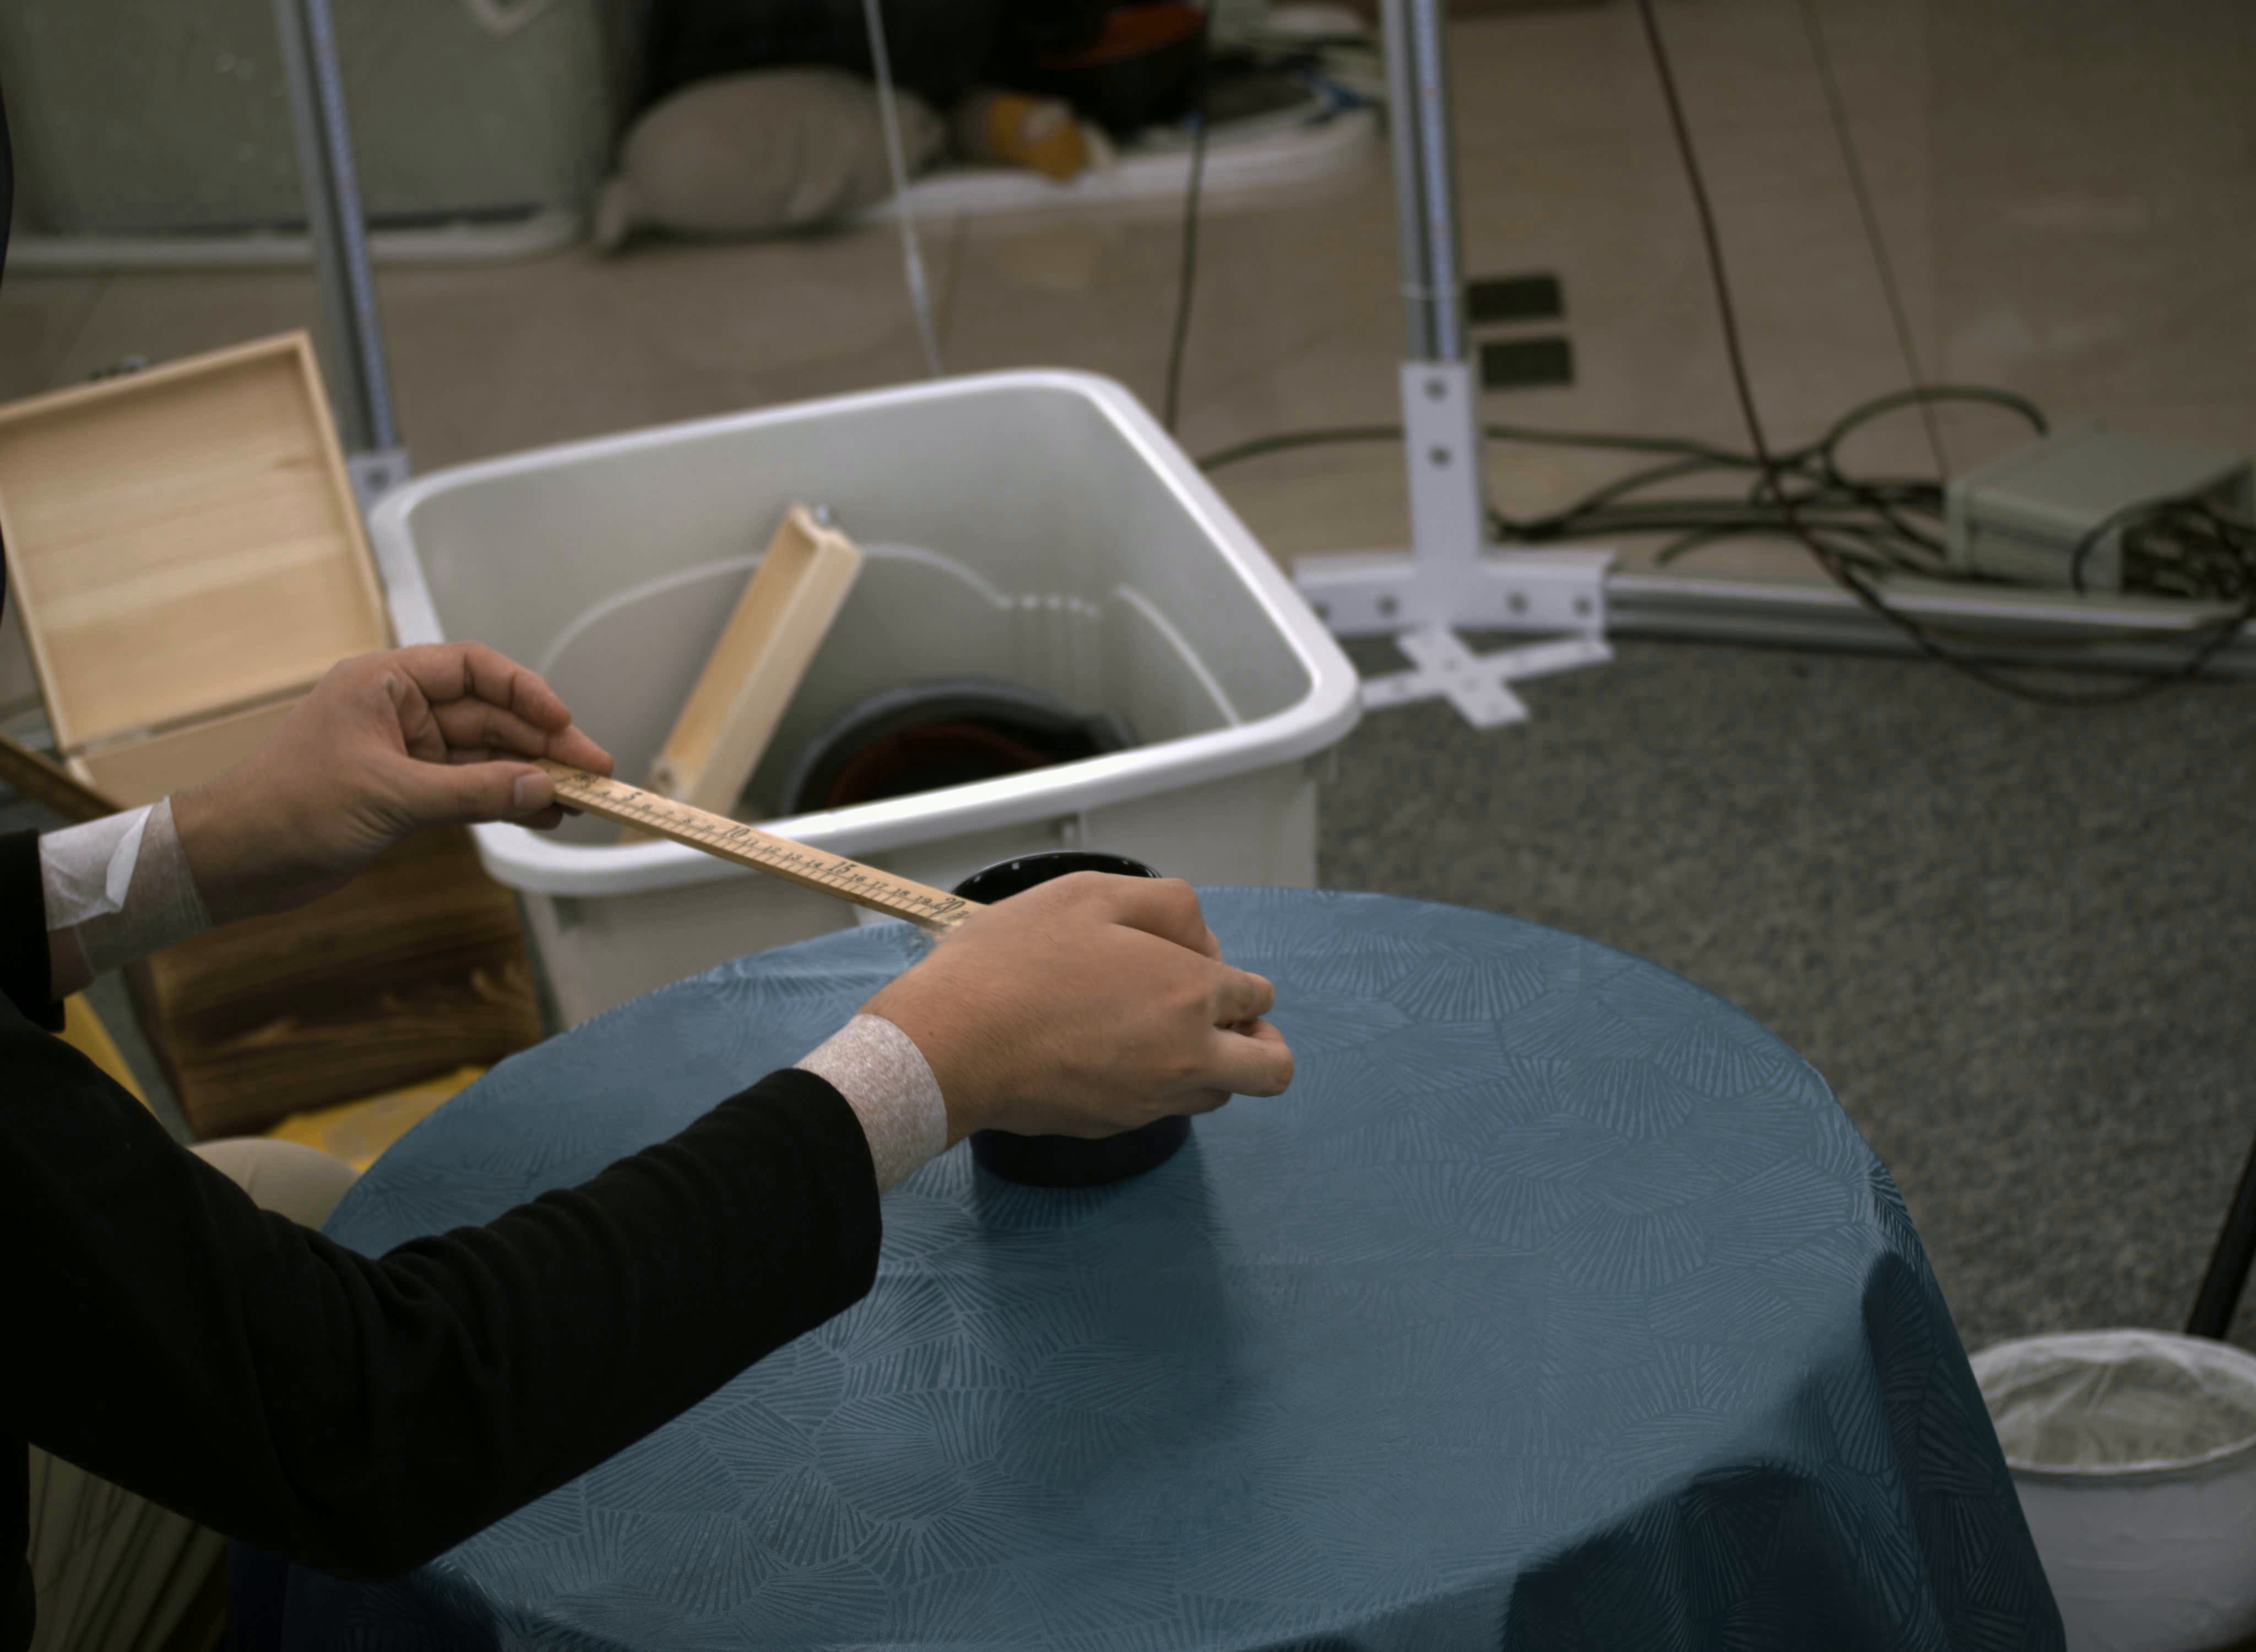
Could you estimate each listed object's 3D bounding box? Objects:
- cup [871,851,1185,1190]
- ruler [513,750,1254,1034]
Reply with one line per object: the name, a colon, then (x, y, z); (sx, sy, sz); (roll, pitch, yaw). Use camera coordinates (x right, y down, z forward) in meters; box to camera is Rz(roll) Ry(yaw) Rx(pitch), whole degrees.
cup: (-0.040, 0.078, 2.164); (0.123, 0.107, 0.087); (-15, 29, -20)
ruler: (-0.096, 0.020, 2.115); (0.329, 0.022, 0.027); (19, 23, 30)
